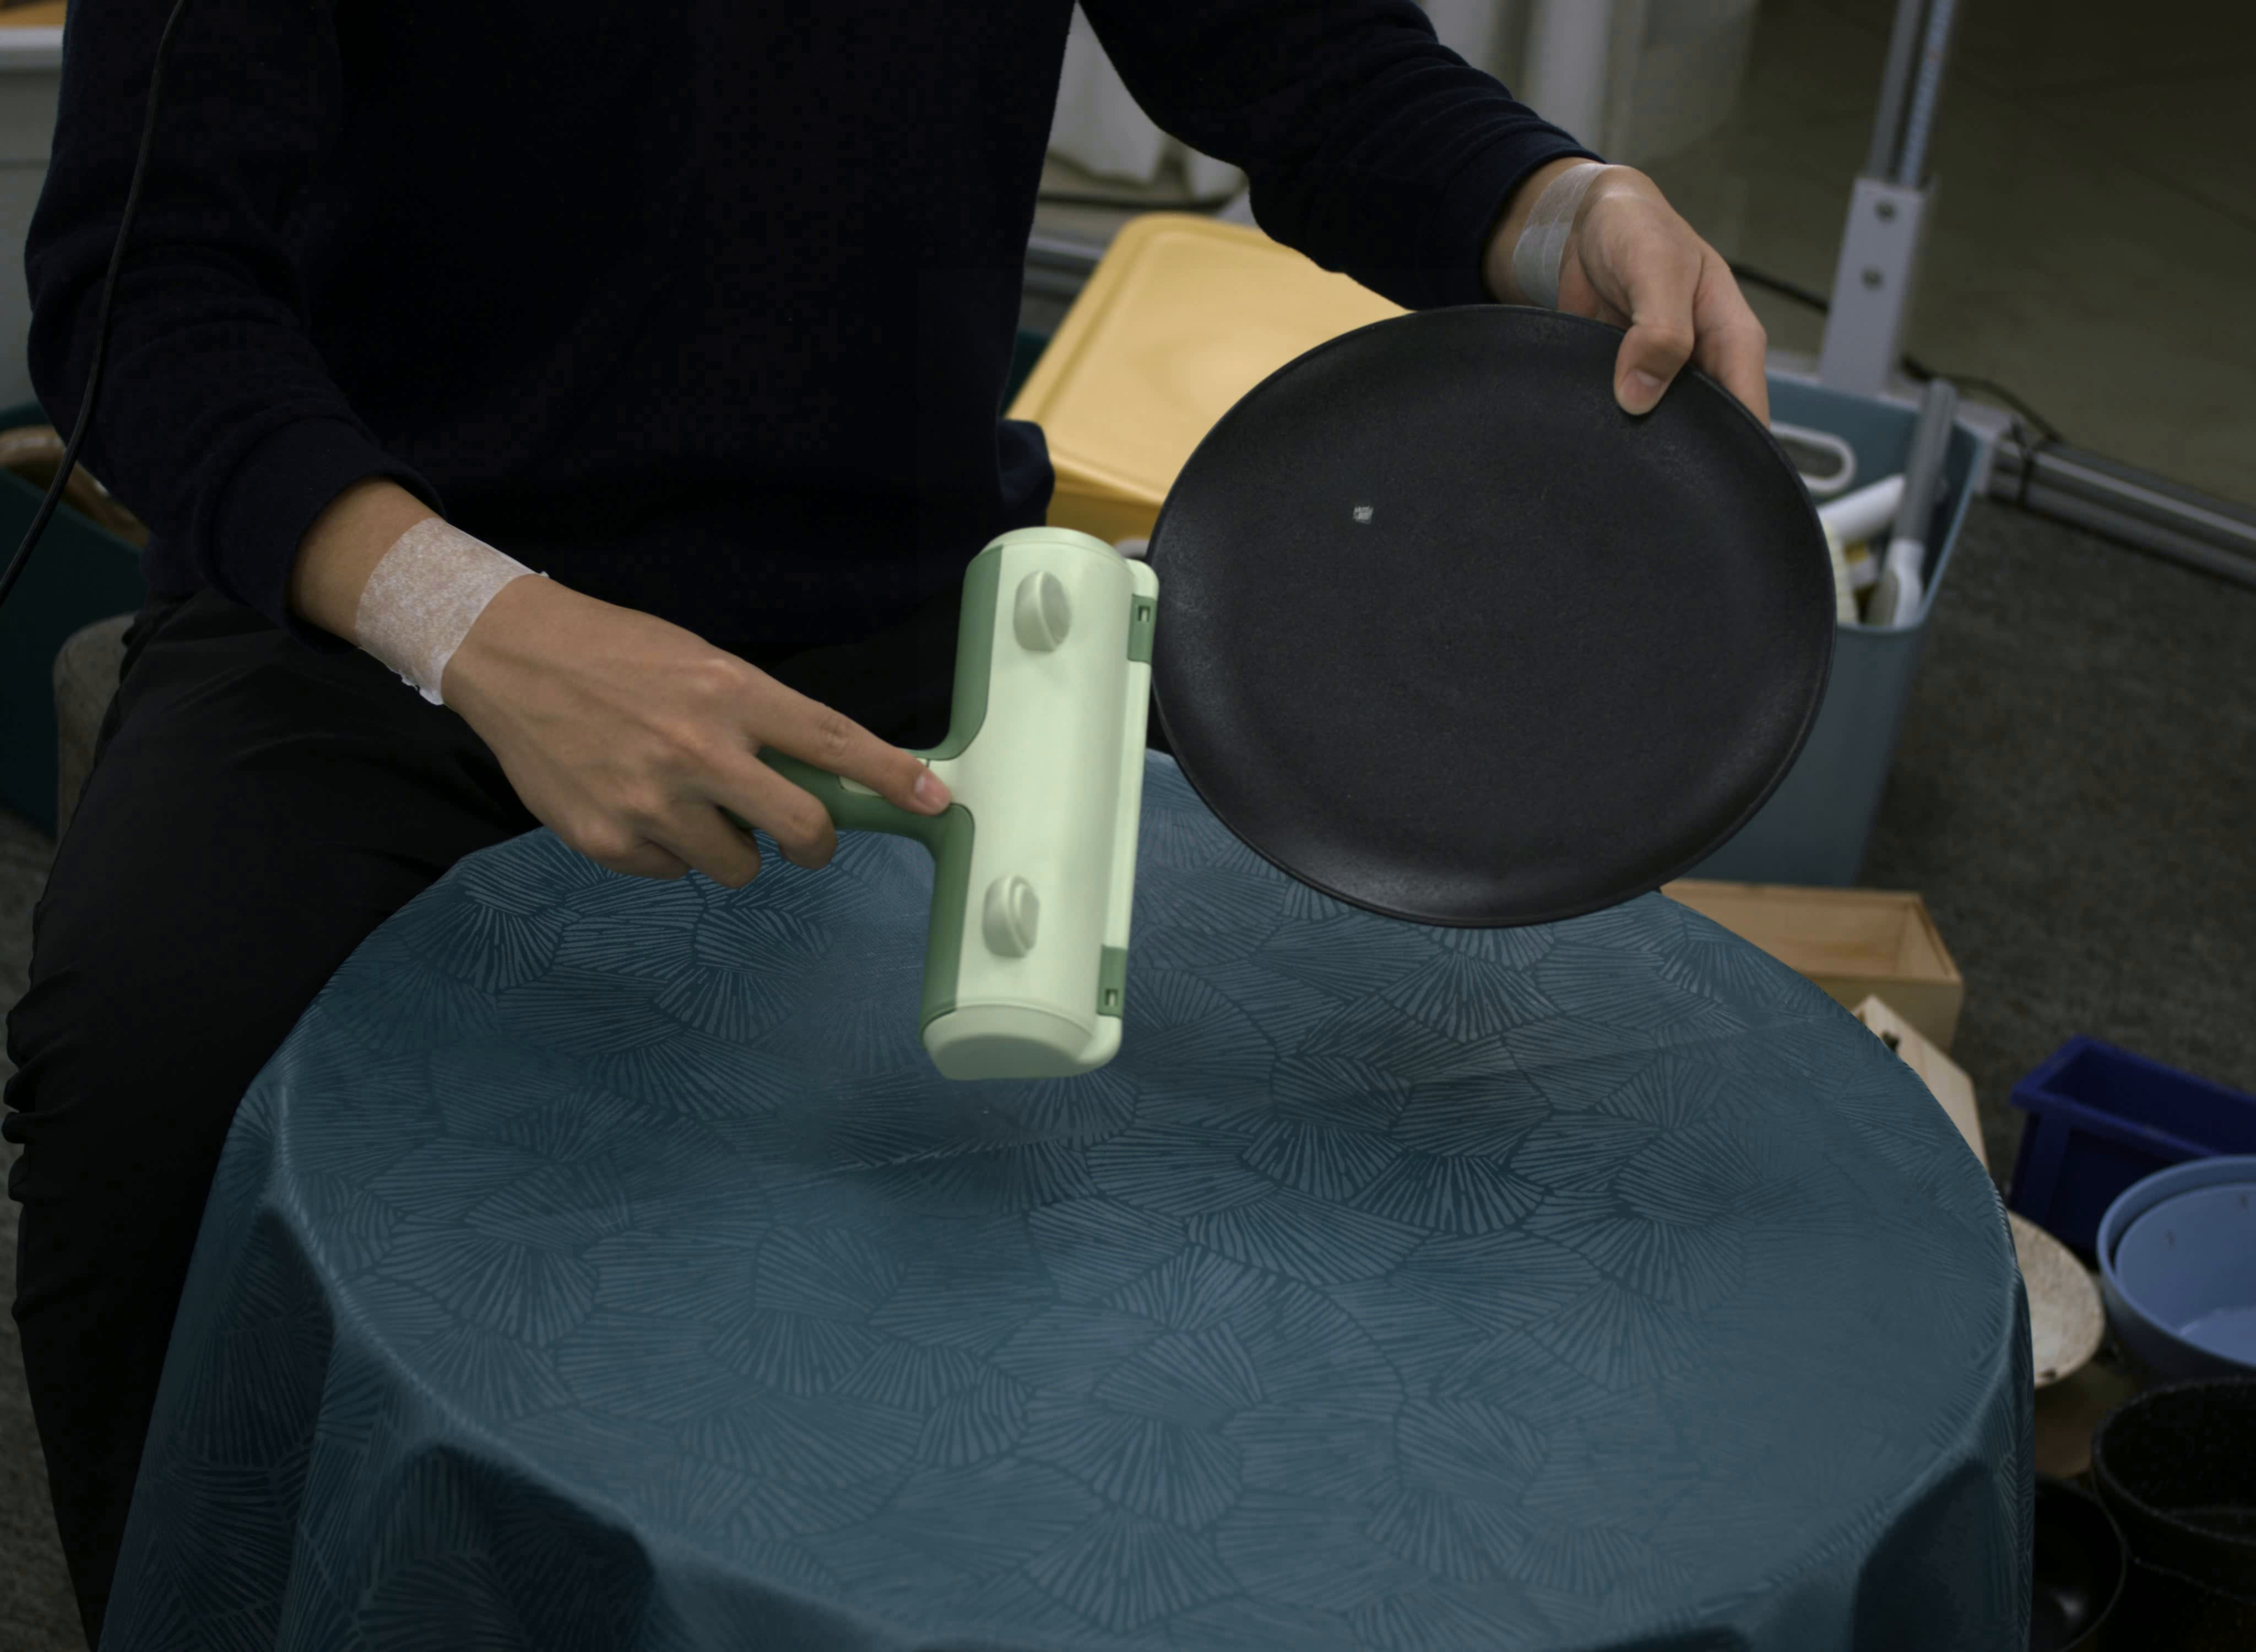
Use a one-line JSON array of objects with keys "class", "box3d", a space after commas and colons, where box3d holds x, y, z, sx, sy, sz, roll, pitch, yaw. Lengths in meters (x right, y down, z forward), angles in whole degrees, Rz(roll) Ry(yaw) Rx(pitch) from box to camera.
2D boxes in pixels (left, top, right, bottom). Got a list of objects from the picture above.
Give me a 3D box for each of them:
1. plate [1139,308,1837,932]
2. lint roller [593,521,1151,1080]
[{"class": "plate", "box3d": [0.125, -0.071, 1.862, 0.244, 0.023, 0.246, -2, 64, 4]}, {"class": "lint roller", "box3d": [-0.085, -0.022, 1.798, 0.182, 0.082, 0.200, 11, 61, -12]}]
